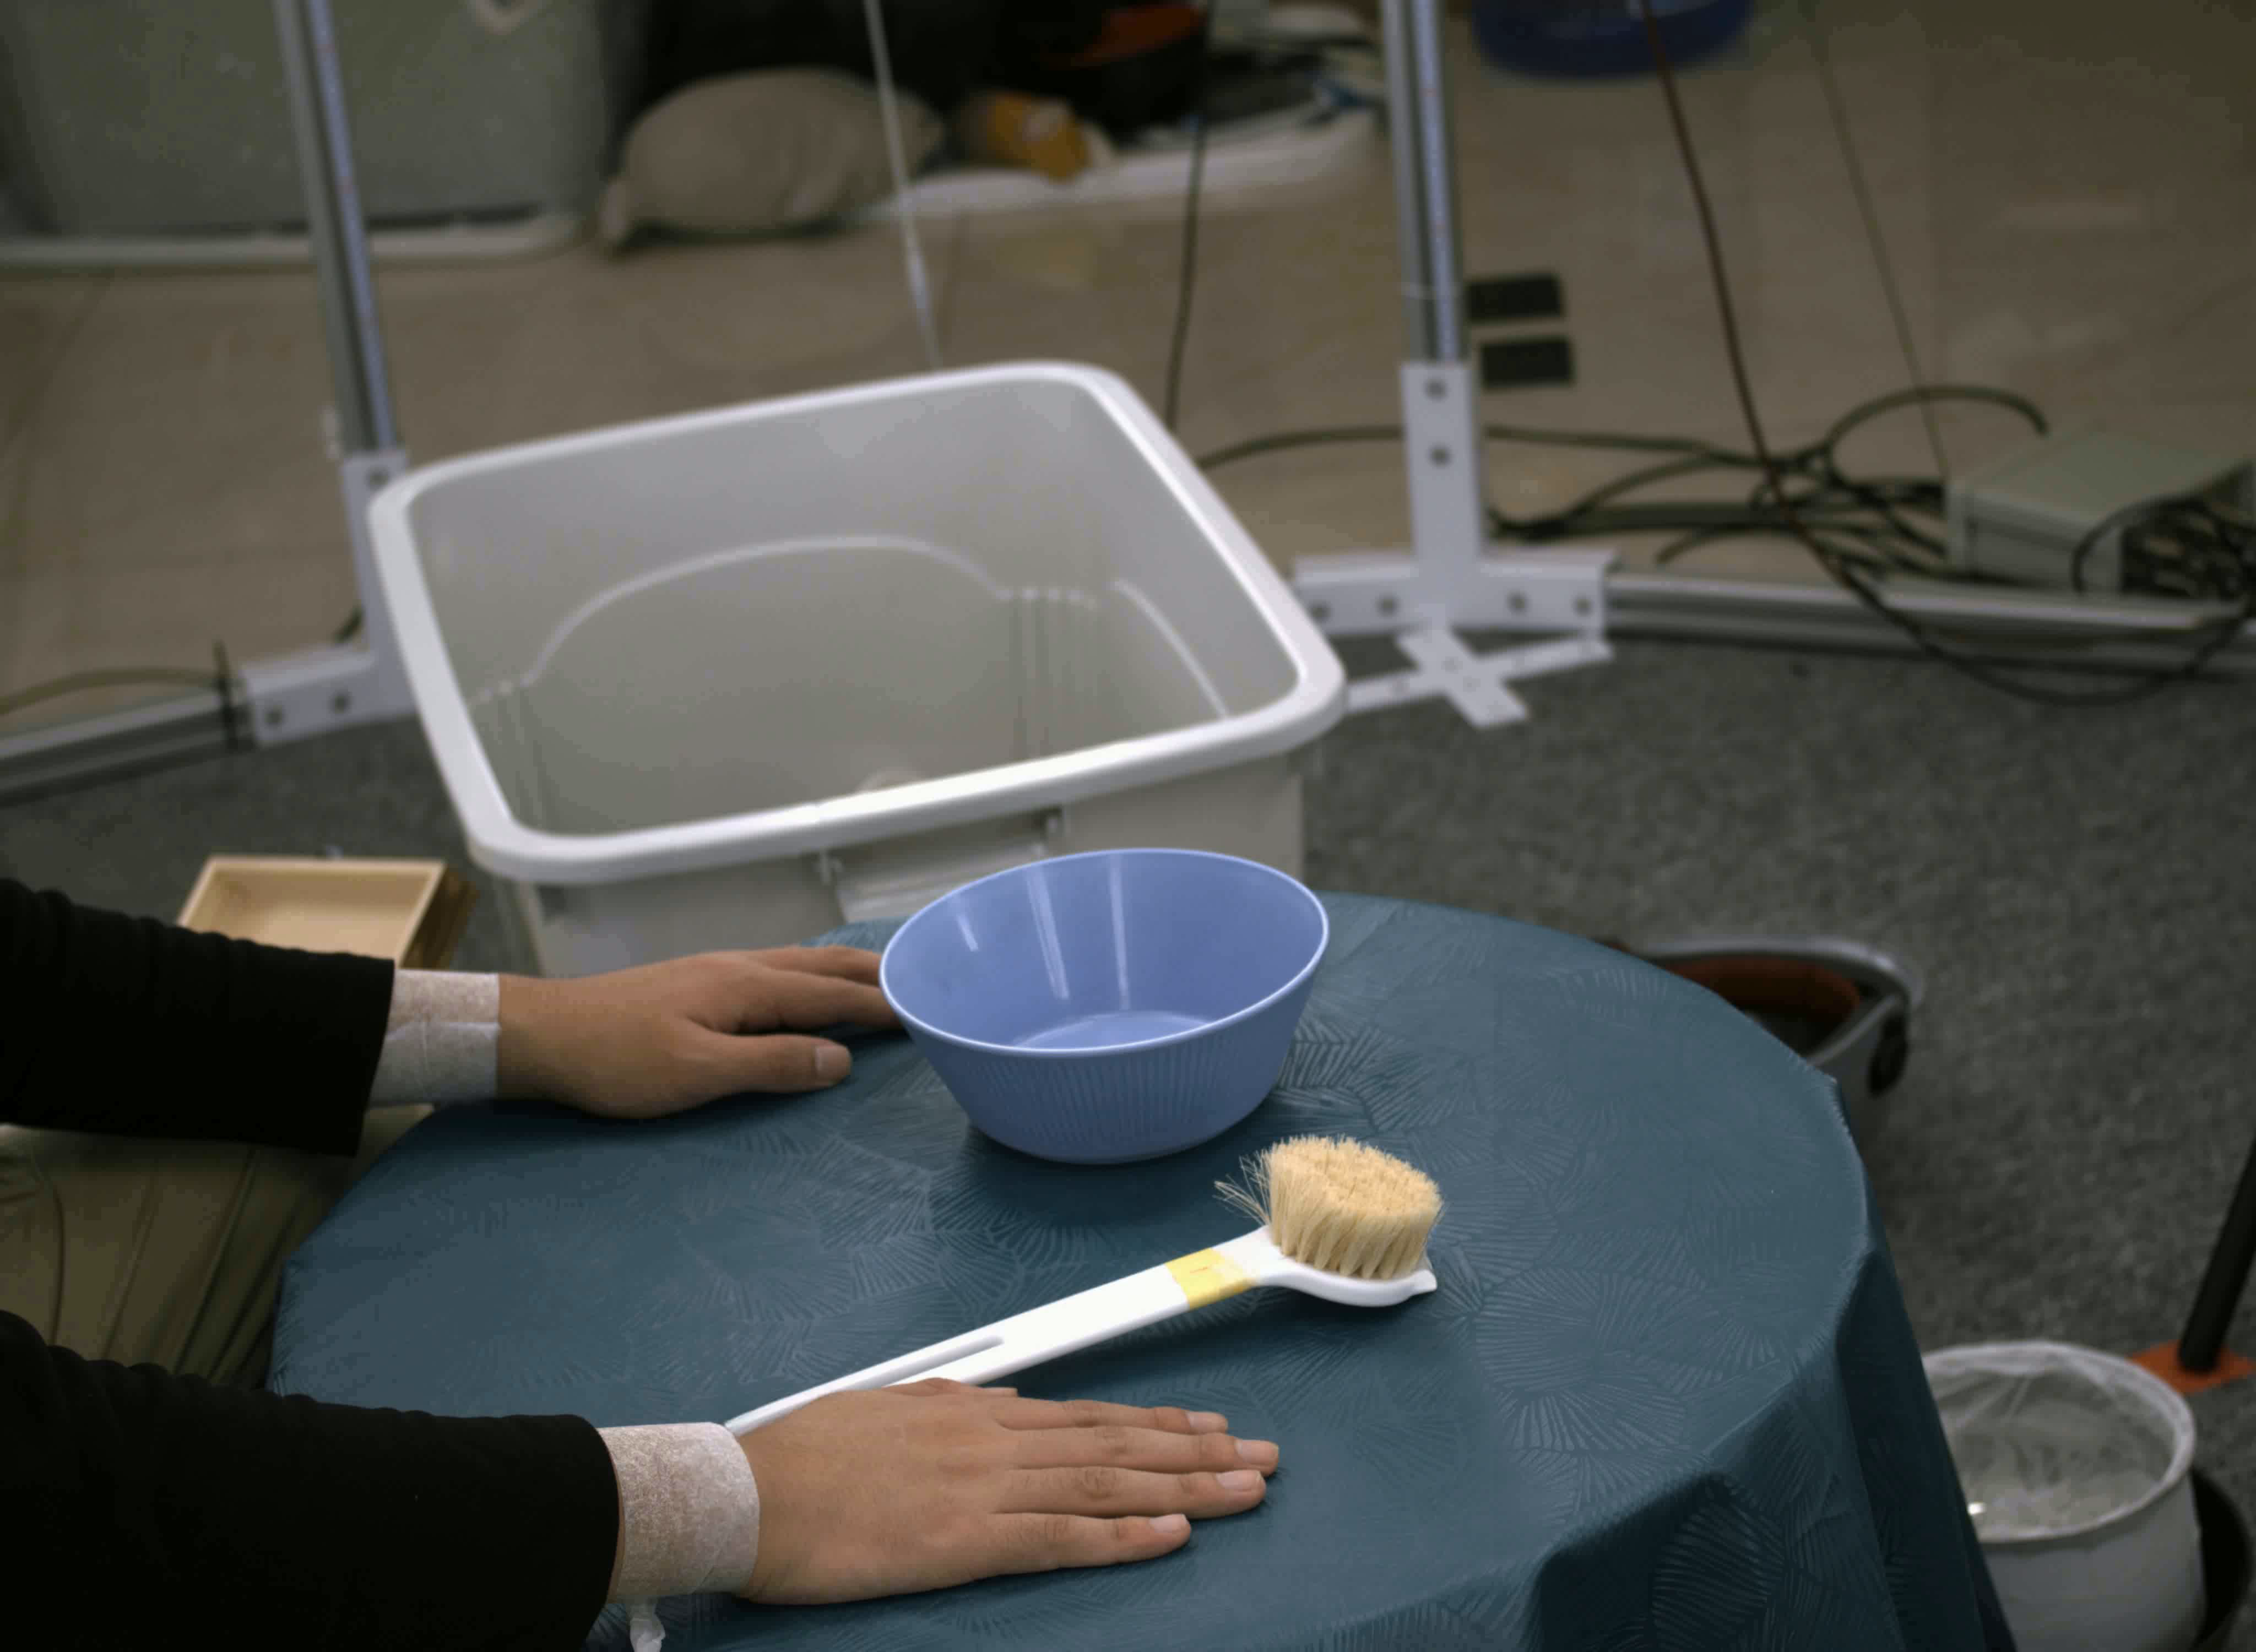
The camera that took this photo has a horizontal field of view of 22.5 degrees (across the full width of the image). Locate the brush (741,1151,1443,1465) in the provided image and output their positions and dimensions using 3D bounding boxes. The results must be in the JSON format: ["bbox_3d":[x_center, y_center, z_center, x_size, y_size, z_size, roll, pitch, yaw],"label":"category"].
[{"bbox_3d":[-0.013,0.169,2.023,0.266,0.057,0.068,-13,22,-12],"label":"brush"}]

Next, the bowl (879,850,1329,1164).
[{"bbox_3d":[-0.006,0.076,2.199,0.176,0.071,0.173,-6,25,3],"label":"bowl"}]
